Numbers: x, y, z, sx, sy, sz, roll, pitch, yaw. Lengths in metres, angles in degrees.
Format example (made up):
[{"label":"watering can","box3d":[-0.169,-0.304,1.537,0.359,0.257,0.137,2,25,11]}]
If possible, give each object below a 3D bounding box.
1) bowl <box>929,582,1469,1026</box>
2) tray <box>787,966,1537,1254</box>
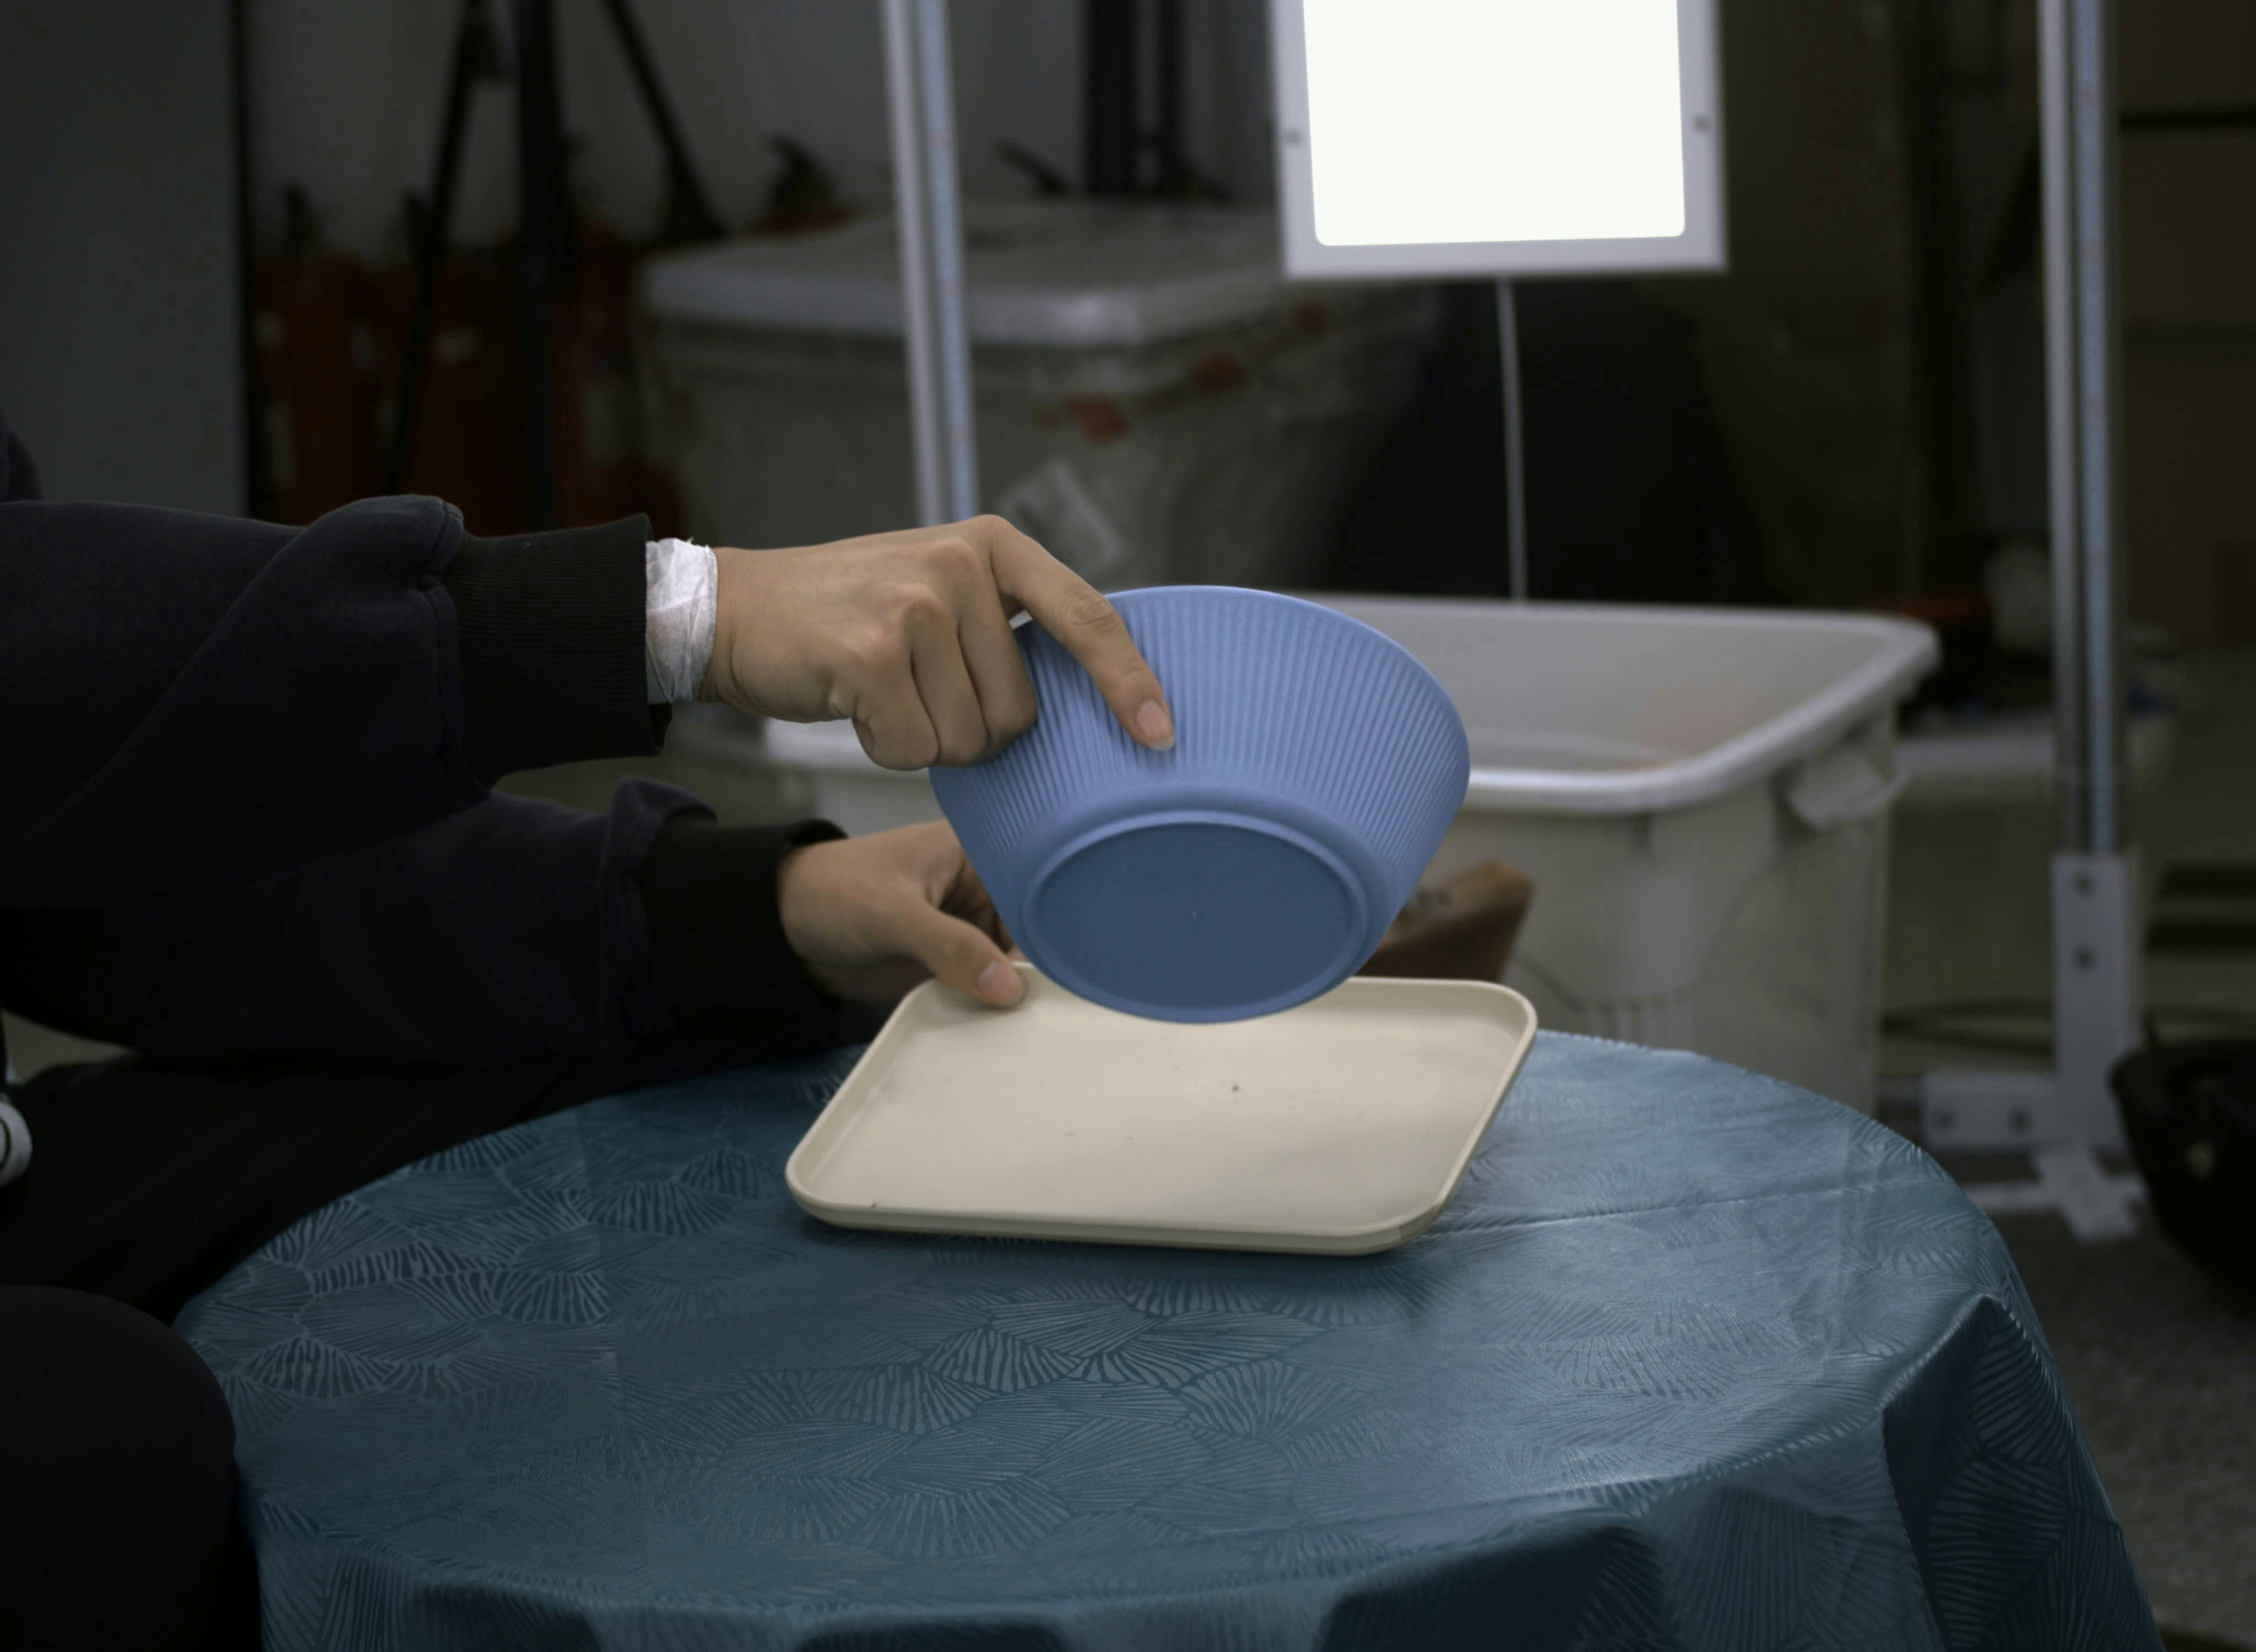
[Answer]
[{"label":"bowl","box3d":[0.023,0.004,1.760,0.176,0.176,0.070,-2,50,6]},{"label":"tray","box3d":[0.014,0.098,1.904,0.243,0.017,0.168,1,28,23]}]
